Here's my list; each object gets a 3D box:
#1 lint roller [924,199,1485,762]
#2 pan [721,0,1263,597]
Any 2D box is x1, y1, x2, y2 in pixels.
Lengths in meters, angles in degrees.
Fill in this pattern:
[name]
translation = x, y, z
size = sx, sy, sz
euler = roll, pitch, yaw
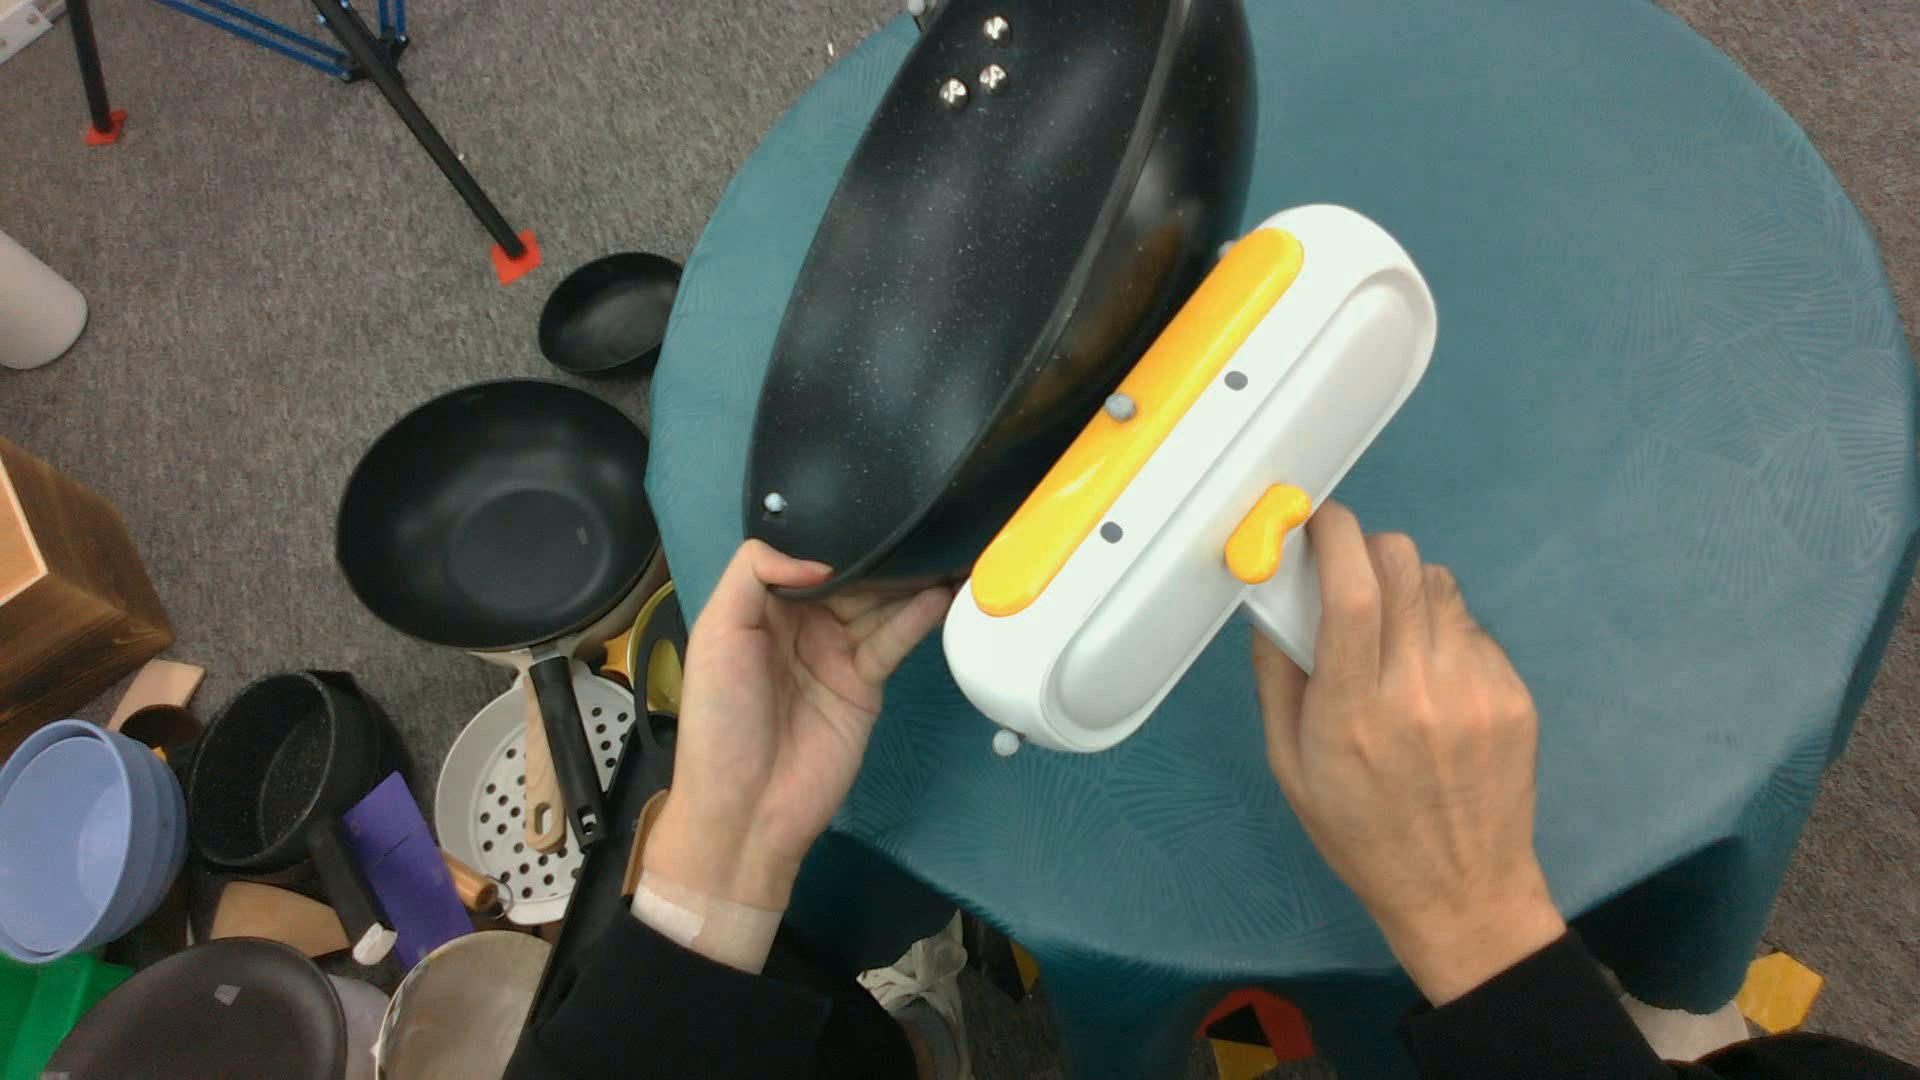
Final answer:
[lint roller]
translation = 0.107, 0.012, 0.457
size = 0.193, 0.192, 0.074
euler = -56, 35, -5
[pan]
translation = 0.007, -0.174, 0.599
size = 0.308, 0.111, 0.479
euler = -43, 34, 37
